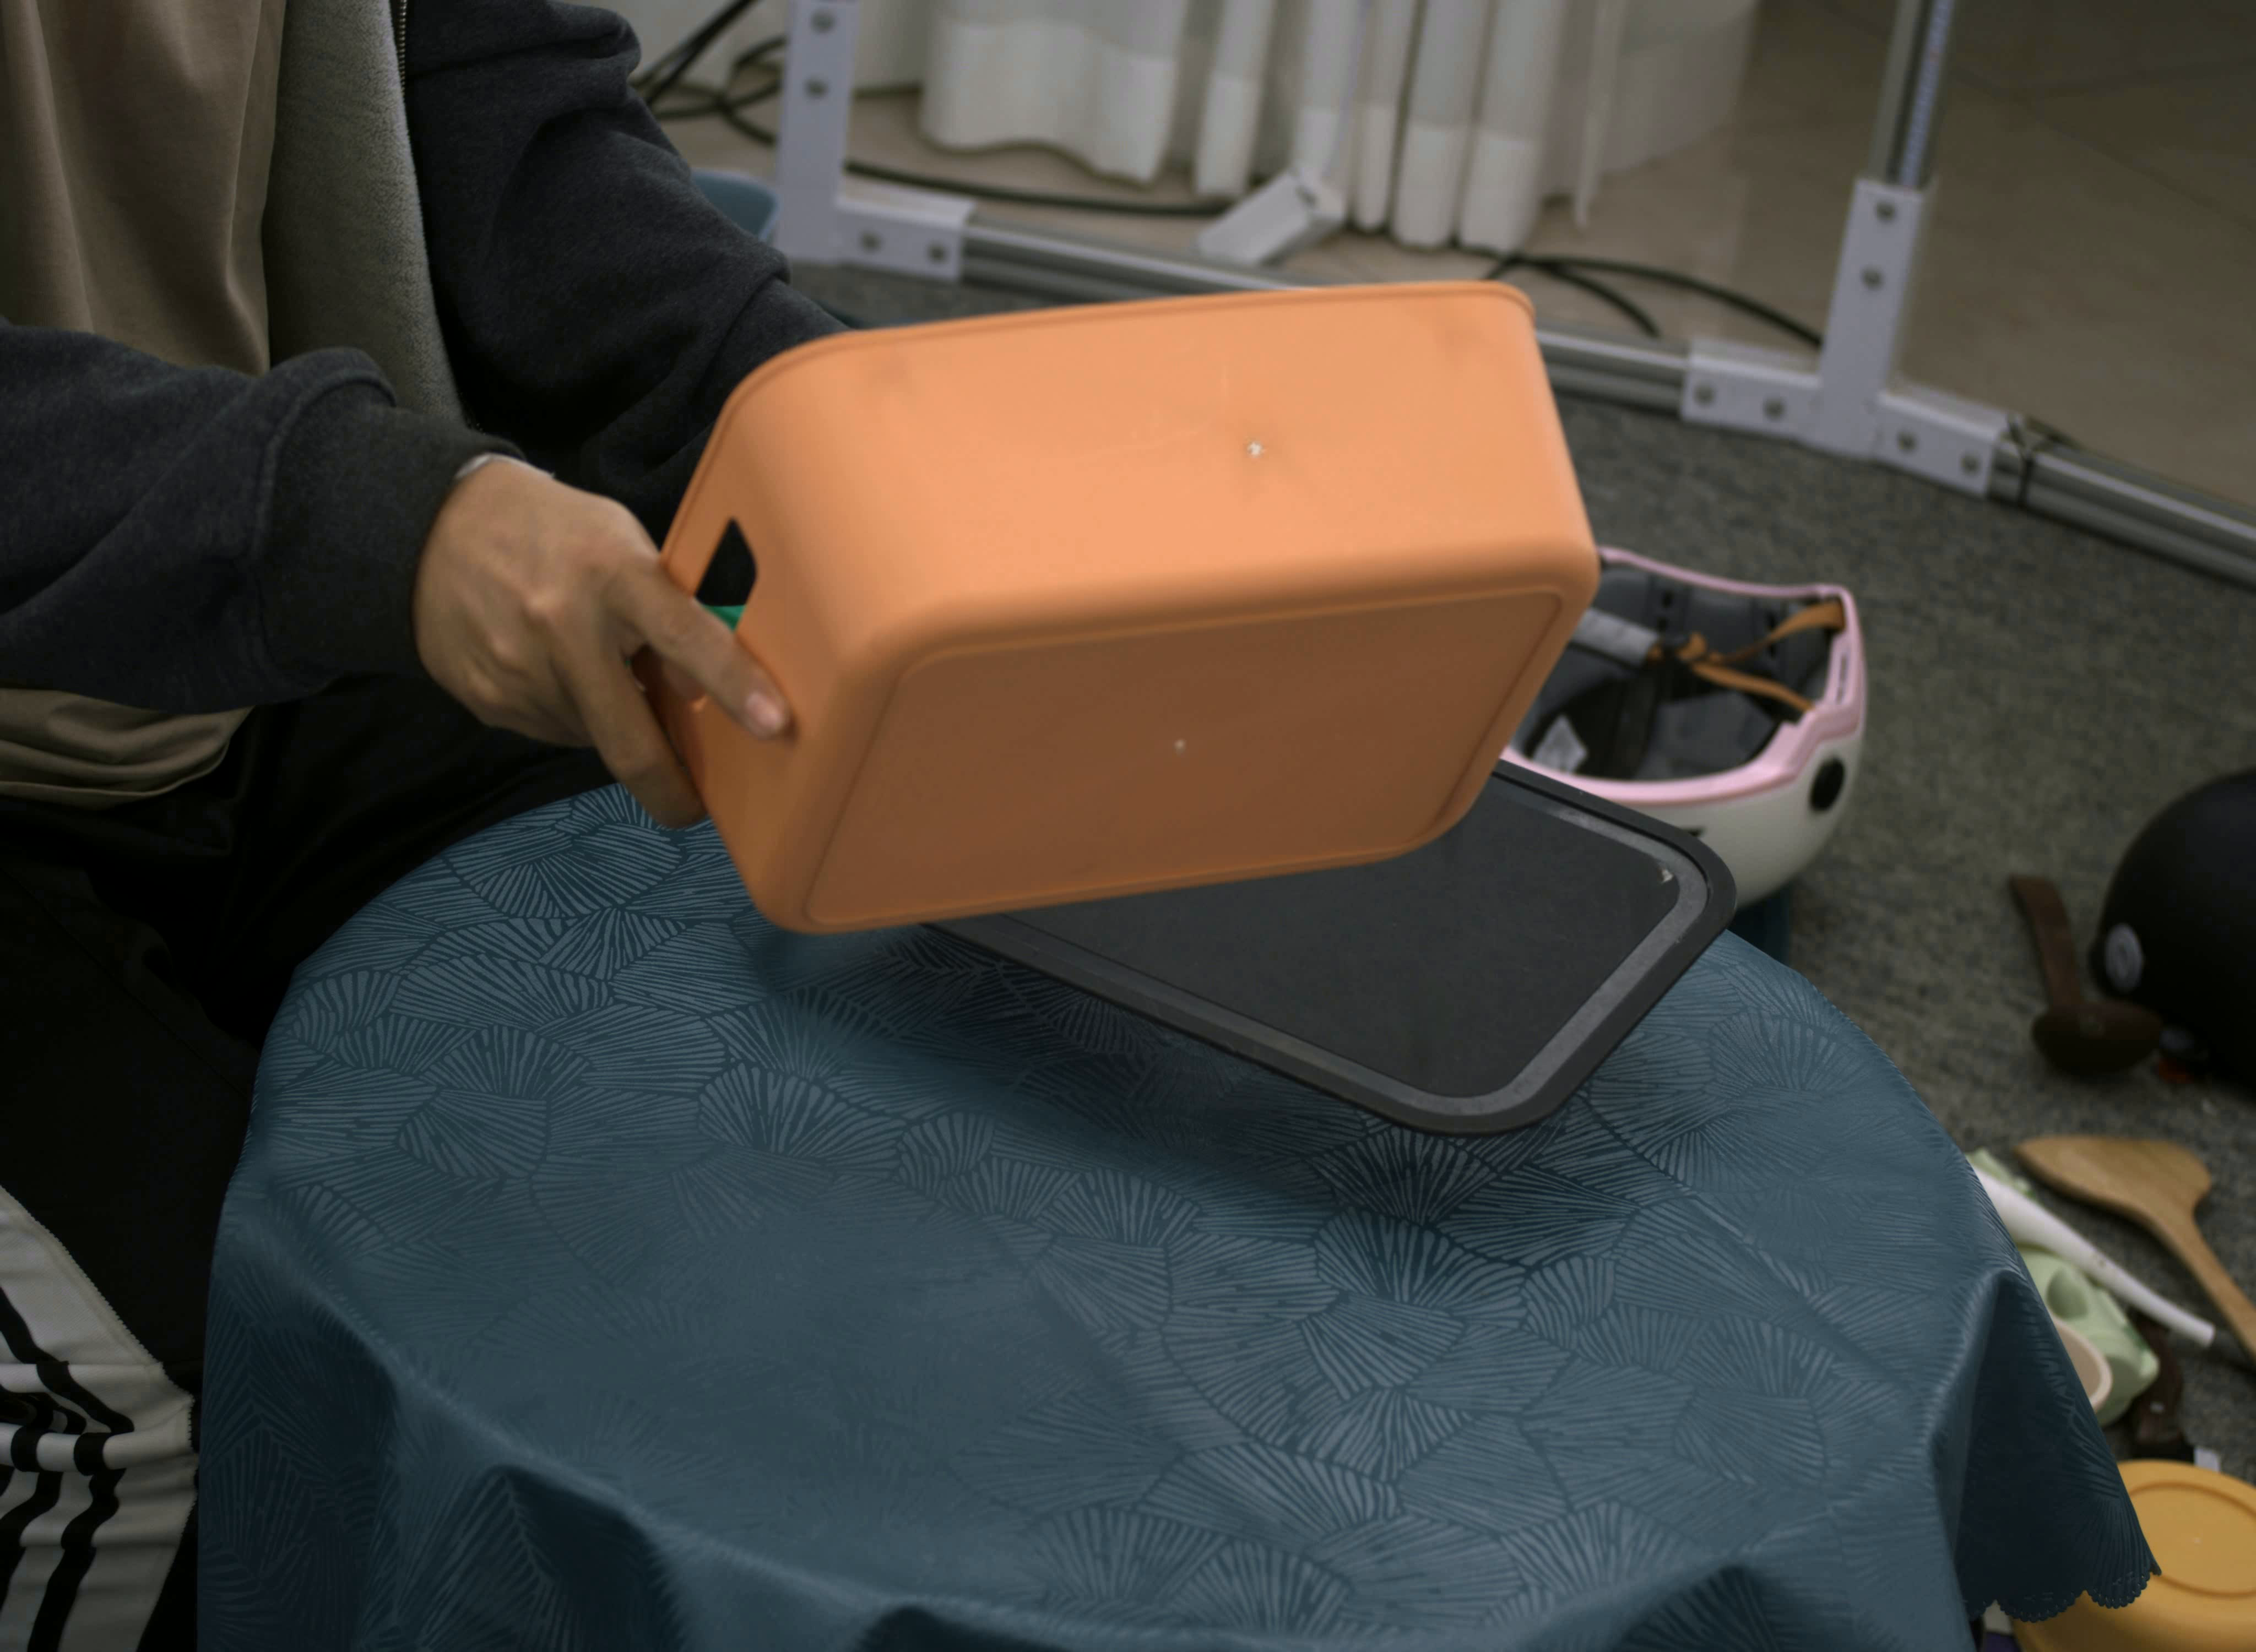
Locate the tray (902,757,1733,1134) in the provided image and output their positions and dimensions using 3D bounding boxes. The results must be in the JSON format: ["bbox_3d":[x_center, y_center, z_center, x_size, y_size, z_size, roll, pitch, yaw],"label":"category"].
[{"bbox_3d":[0.040,0.010,1.902,0.327,0.010,0.211,22,39,24],"label":"tray"}]

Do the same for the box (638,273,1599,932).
[{"bbox_3d":[0.000,-0.062,1.620,0.271,0.199,0.103,-7,59,-23],"label":"box"}]
